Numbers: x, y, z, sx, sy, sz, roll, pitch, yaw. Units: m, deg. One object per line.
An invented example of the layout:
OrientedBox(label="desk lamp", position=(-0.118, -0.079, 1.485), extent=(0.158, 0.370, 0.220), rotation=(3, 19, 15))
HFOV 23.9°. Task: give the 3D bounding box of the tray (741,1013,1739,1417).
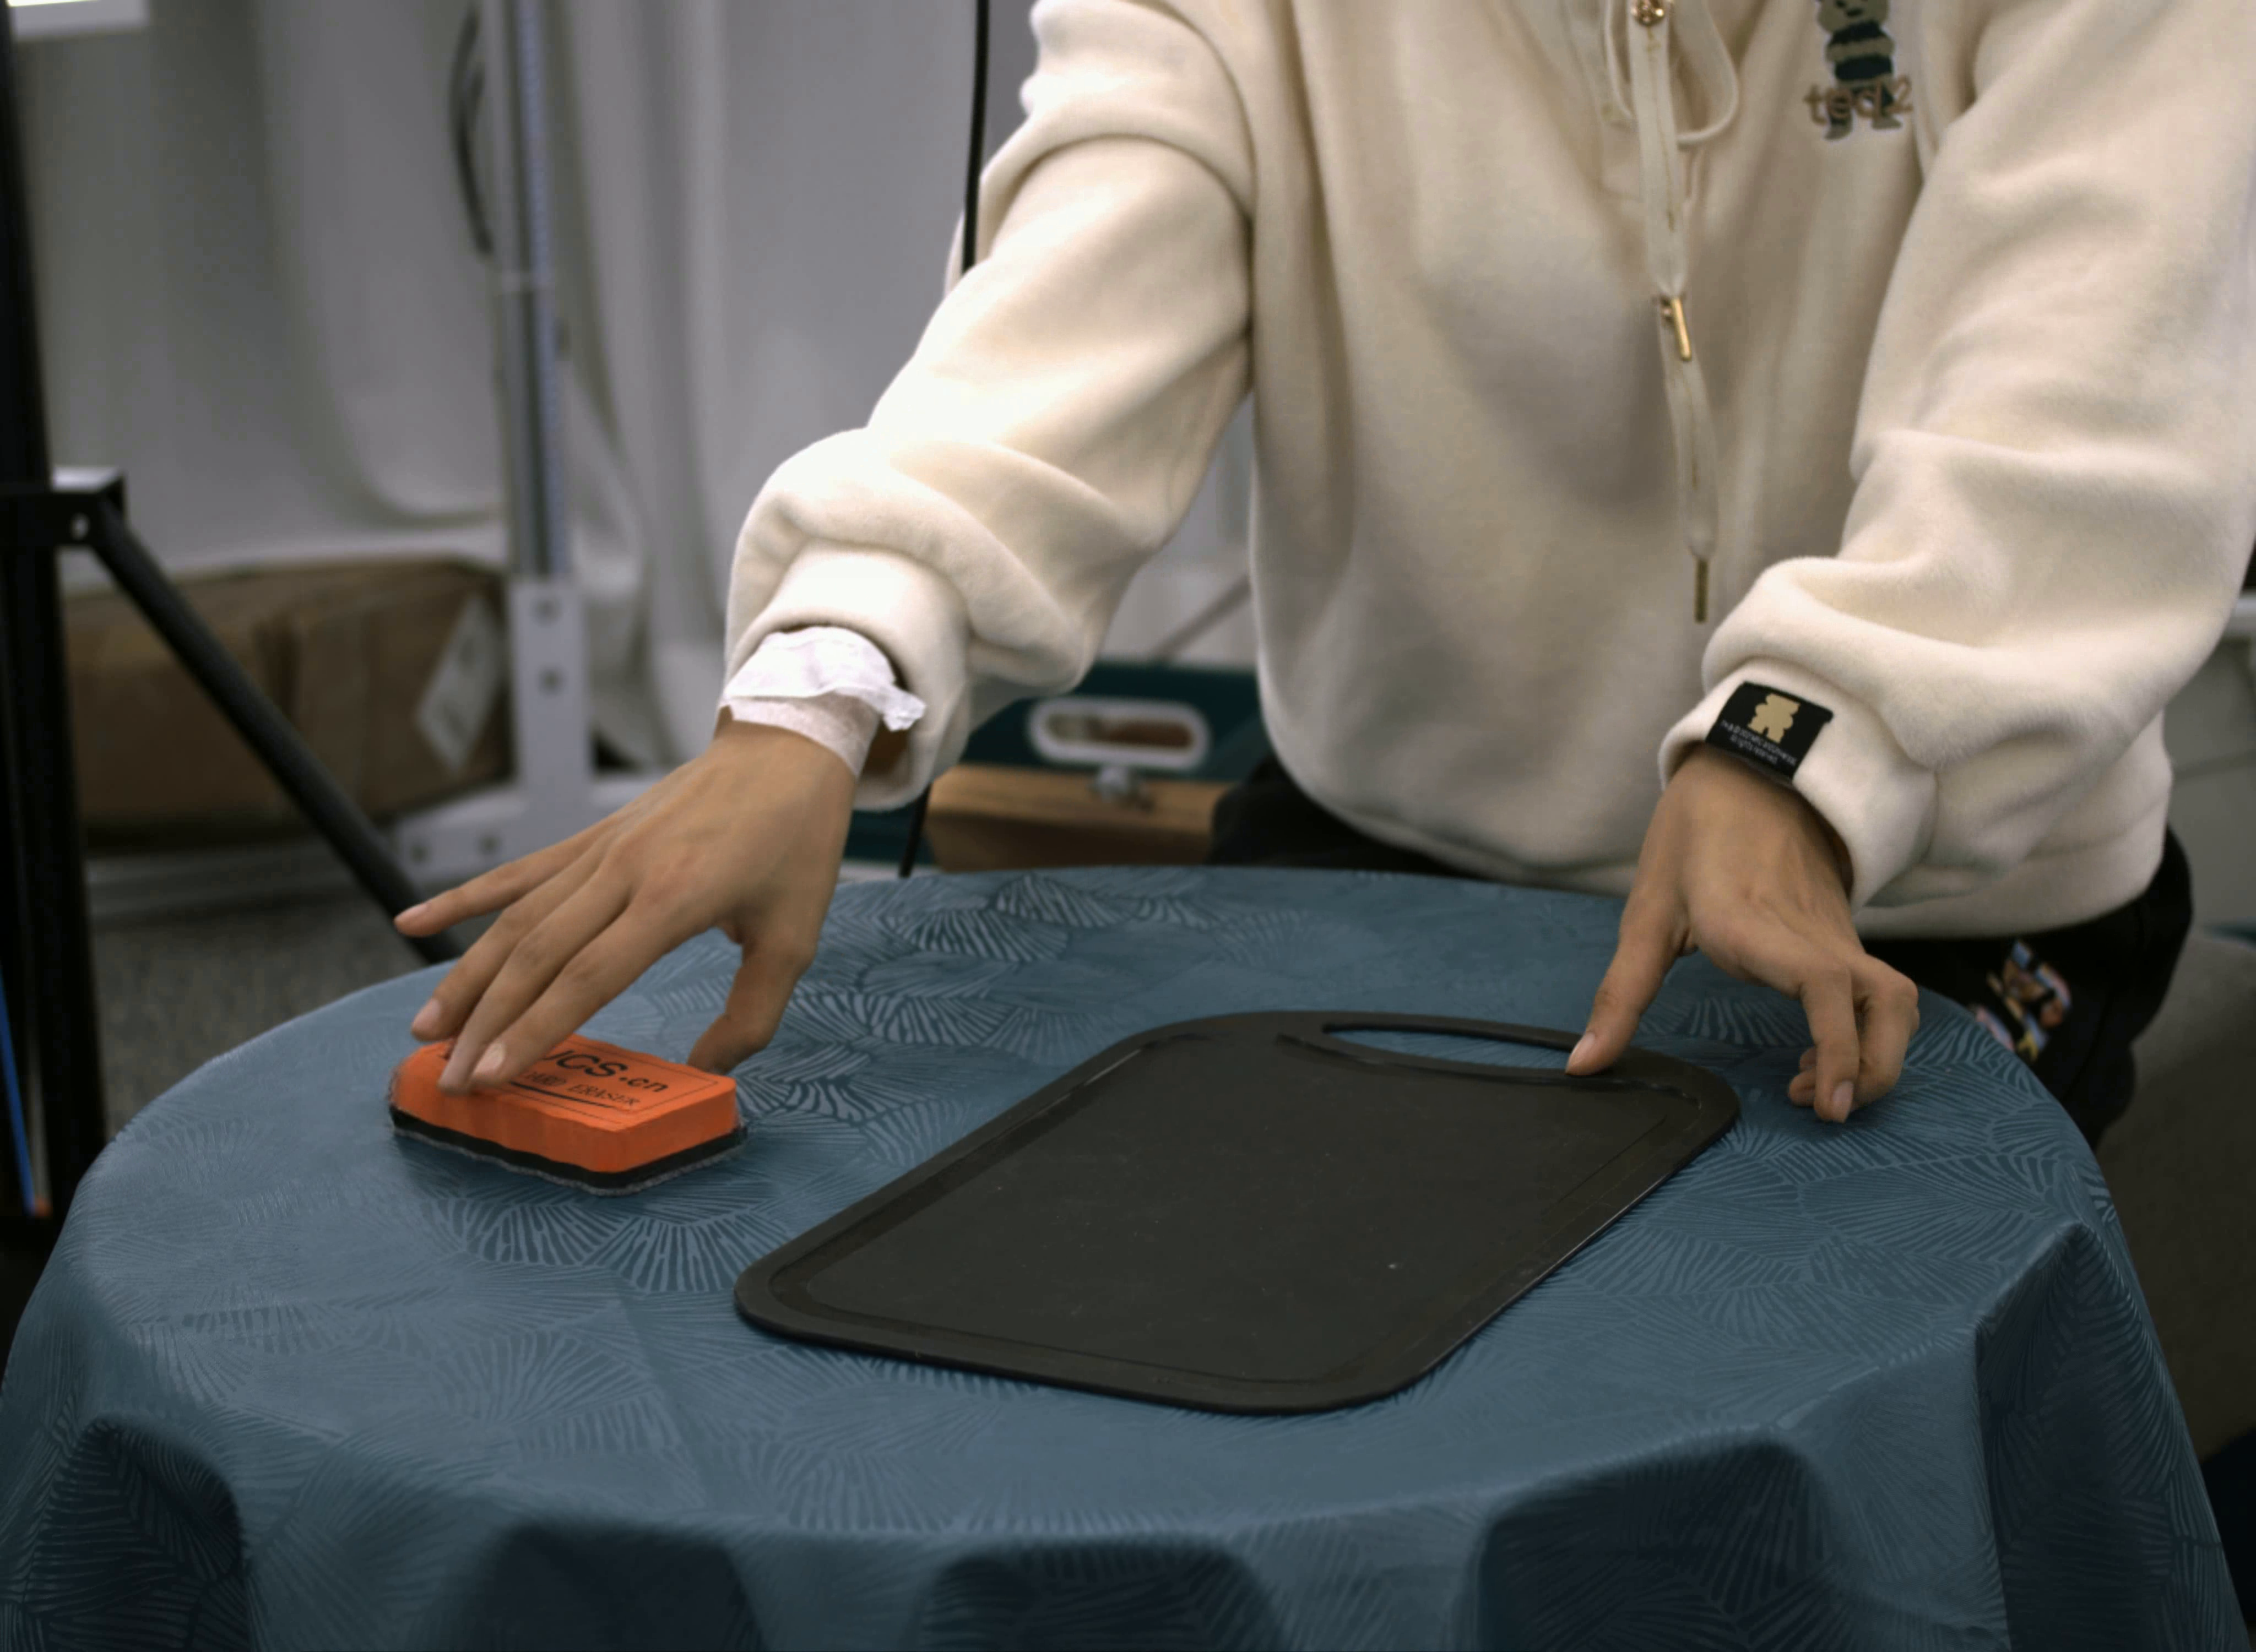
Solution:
OrientedBox(label="tray", position=(0.042, 0.104, 1.552), extent=(0.215, 0.010, 0.320), rotation=(7, 18, 29))

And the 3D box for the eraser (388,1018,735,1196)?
OrientedBox(label="eraser", position=(-0.172, 0.085, 1.624), extent=(0.110, 0.023, 0.057), rotation=(13, 23, 43))
